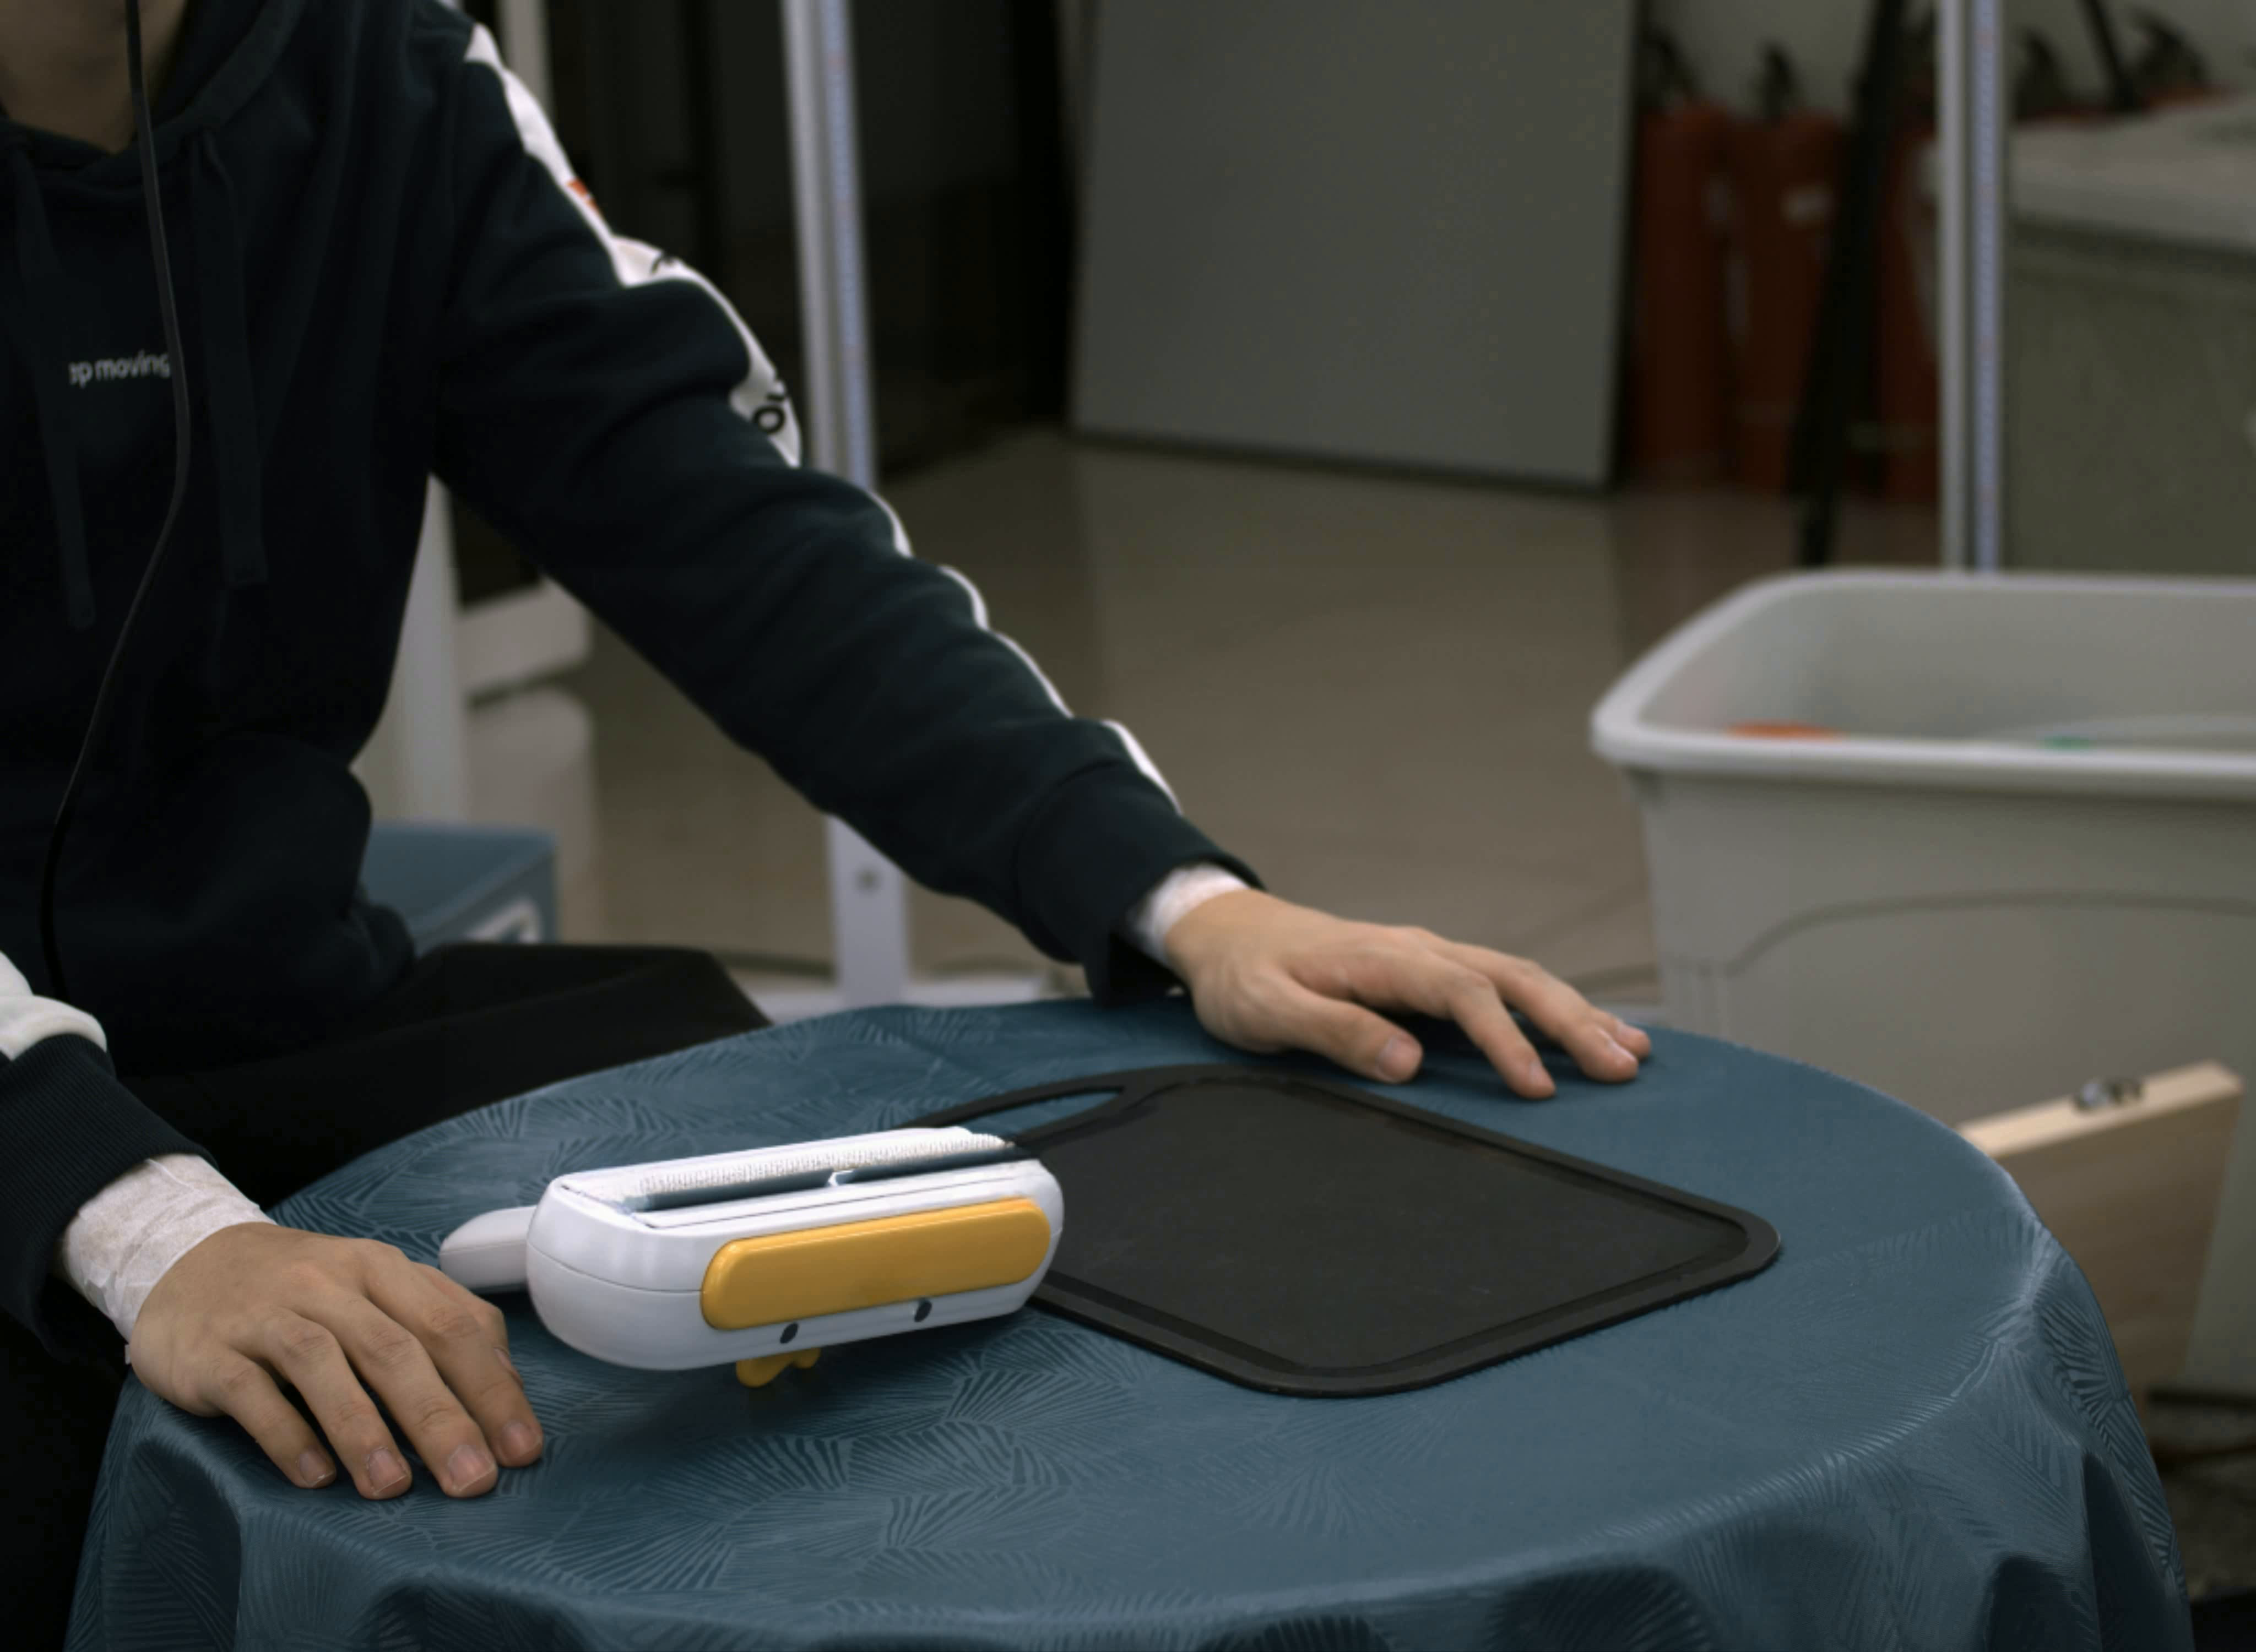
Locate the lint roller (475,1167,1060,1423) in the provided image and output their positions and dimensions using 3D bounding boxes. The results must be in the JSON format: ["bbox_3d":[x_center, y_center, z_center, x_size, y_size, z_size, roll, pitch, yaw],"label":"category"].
[{"bbox_3d":[-0.139,0.145,1.651,0.188,0.075,0.194,-7,-2,-41],"label":"lint roller"}]

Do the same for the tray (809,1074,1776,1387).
[{"bbox_3d":[0.041,0.124,1.737,0.206,0.010,0.329,-14,17,-34],"label":"tray"}]
